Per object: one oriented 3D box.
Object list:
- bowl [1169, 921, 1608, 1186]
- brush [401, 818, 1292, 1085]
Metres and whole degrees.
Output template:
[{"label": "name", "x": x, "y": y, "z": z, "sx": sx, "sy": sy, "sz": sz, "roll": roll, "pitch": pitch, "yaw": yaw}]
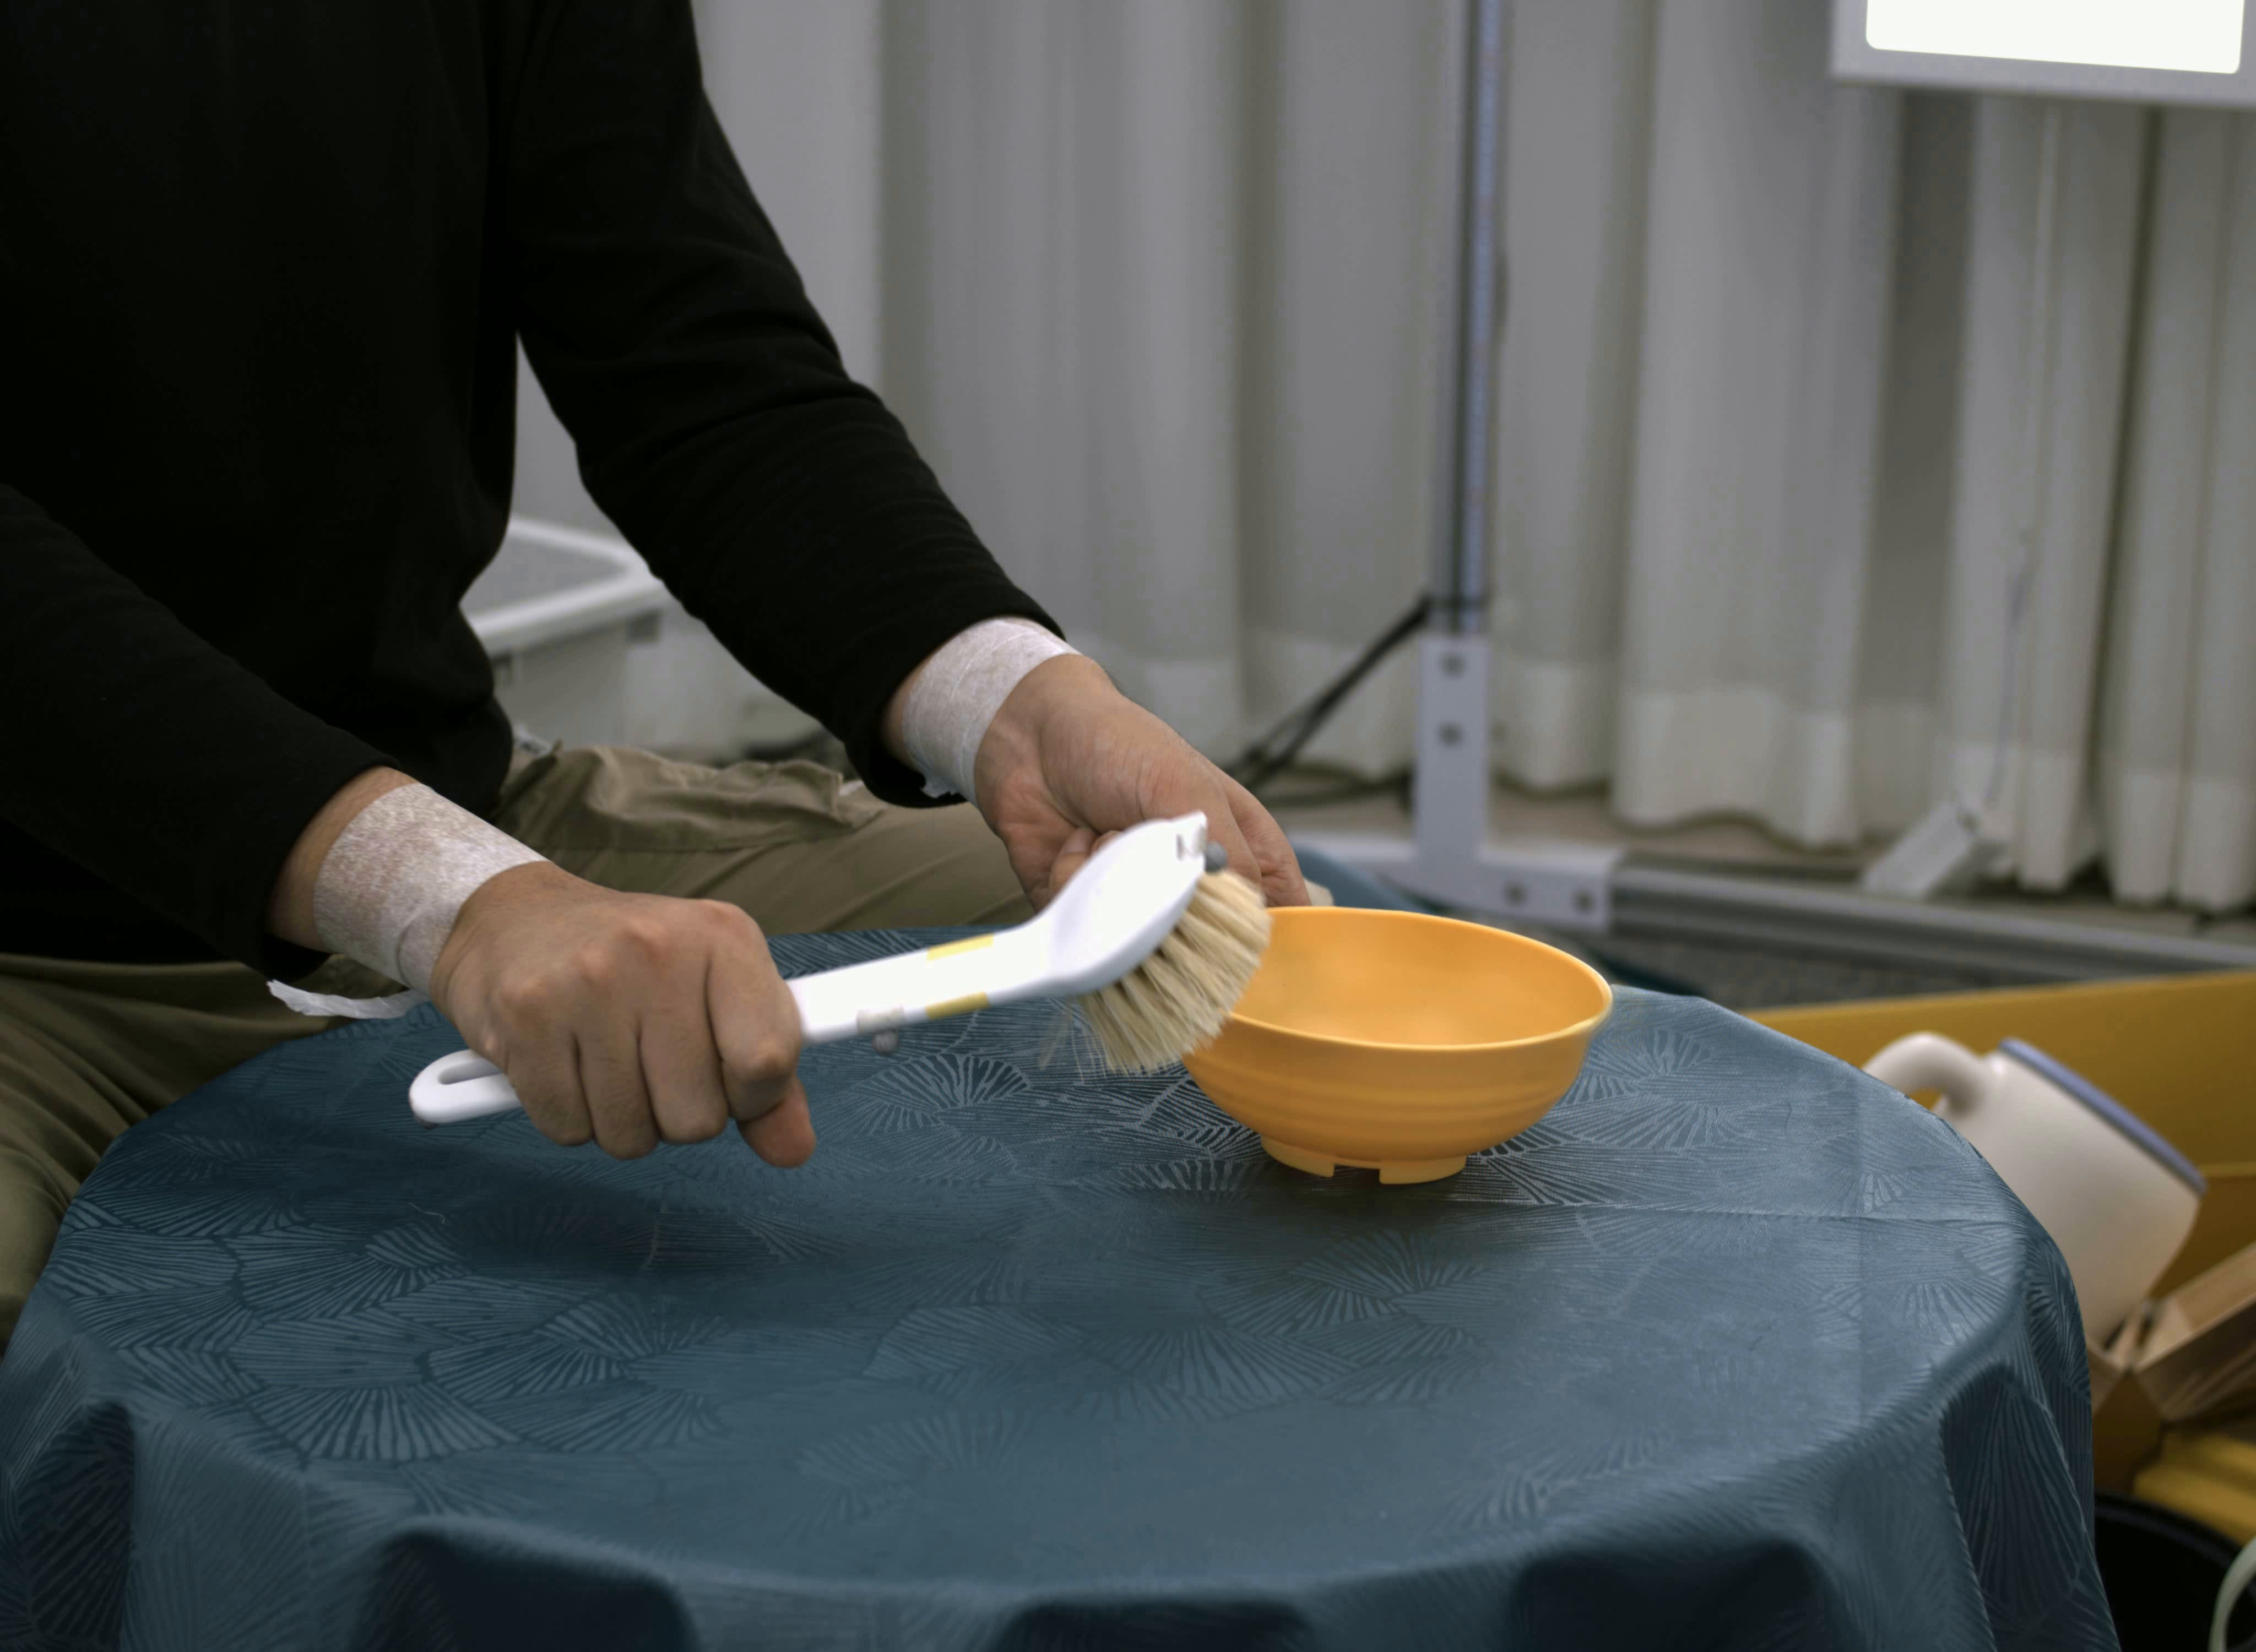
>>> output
[{"label": "bowl", "x": 0.076, "y": 0.075, "z": 1.643, "sx": 0.145, "sy": 0.060, "sz": 0.144, "roll": 4, "pitch": 14, "yaw": 0}, {"label": "brush", "x": -0.082, "y": 0.058, "z": 1.571, "sx": 0.265, "sy": 0.057, "sz": 0.068, "roll": -15, "pitch": 23, "yaw": 2}]
